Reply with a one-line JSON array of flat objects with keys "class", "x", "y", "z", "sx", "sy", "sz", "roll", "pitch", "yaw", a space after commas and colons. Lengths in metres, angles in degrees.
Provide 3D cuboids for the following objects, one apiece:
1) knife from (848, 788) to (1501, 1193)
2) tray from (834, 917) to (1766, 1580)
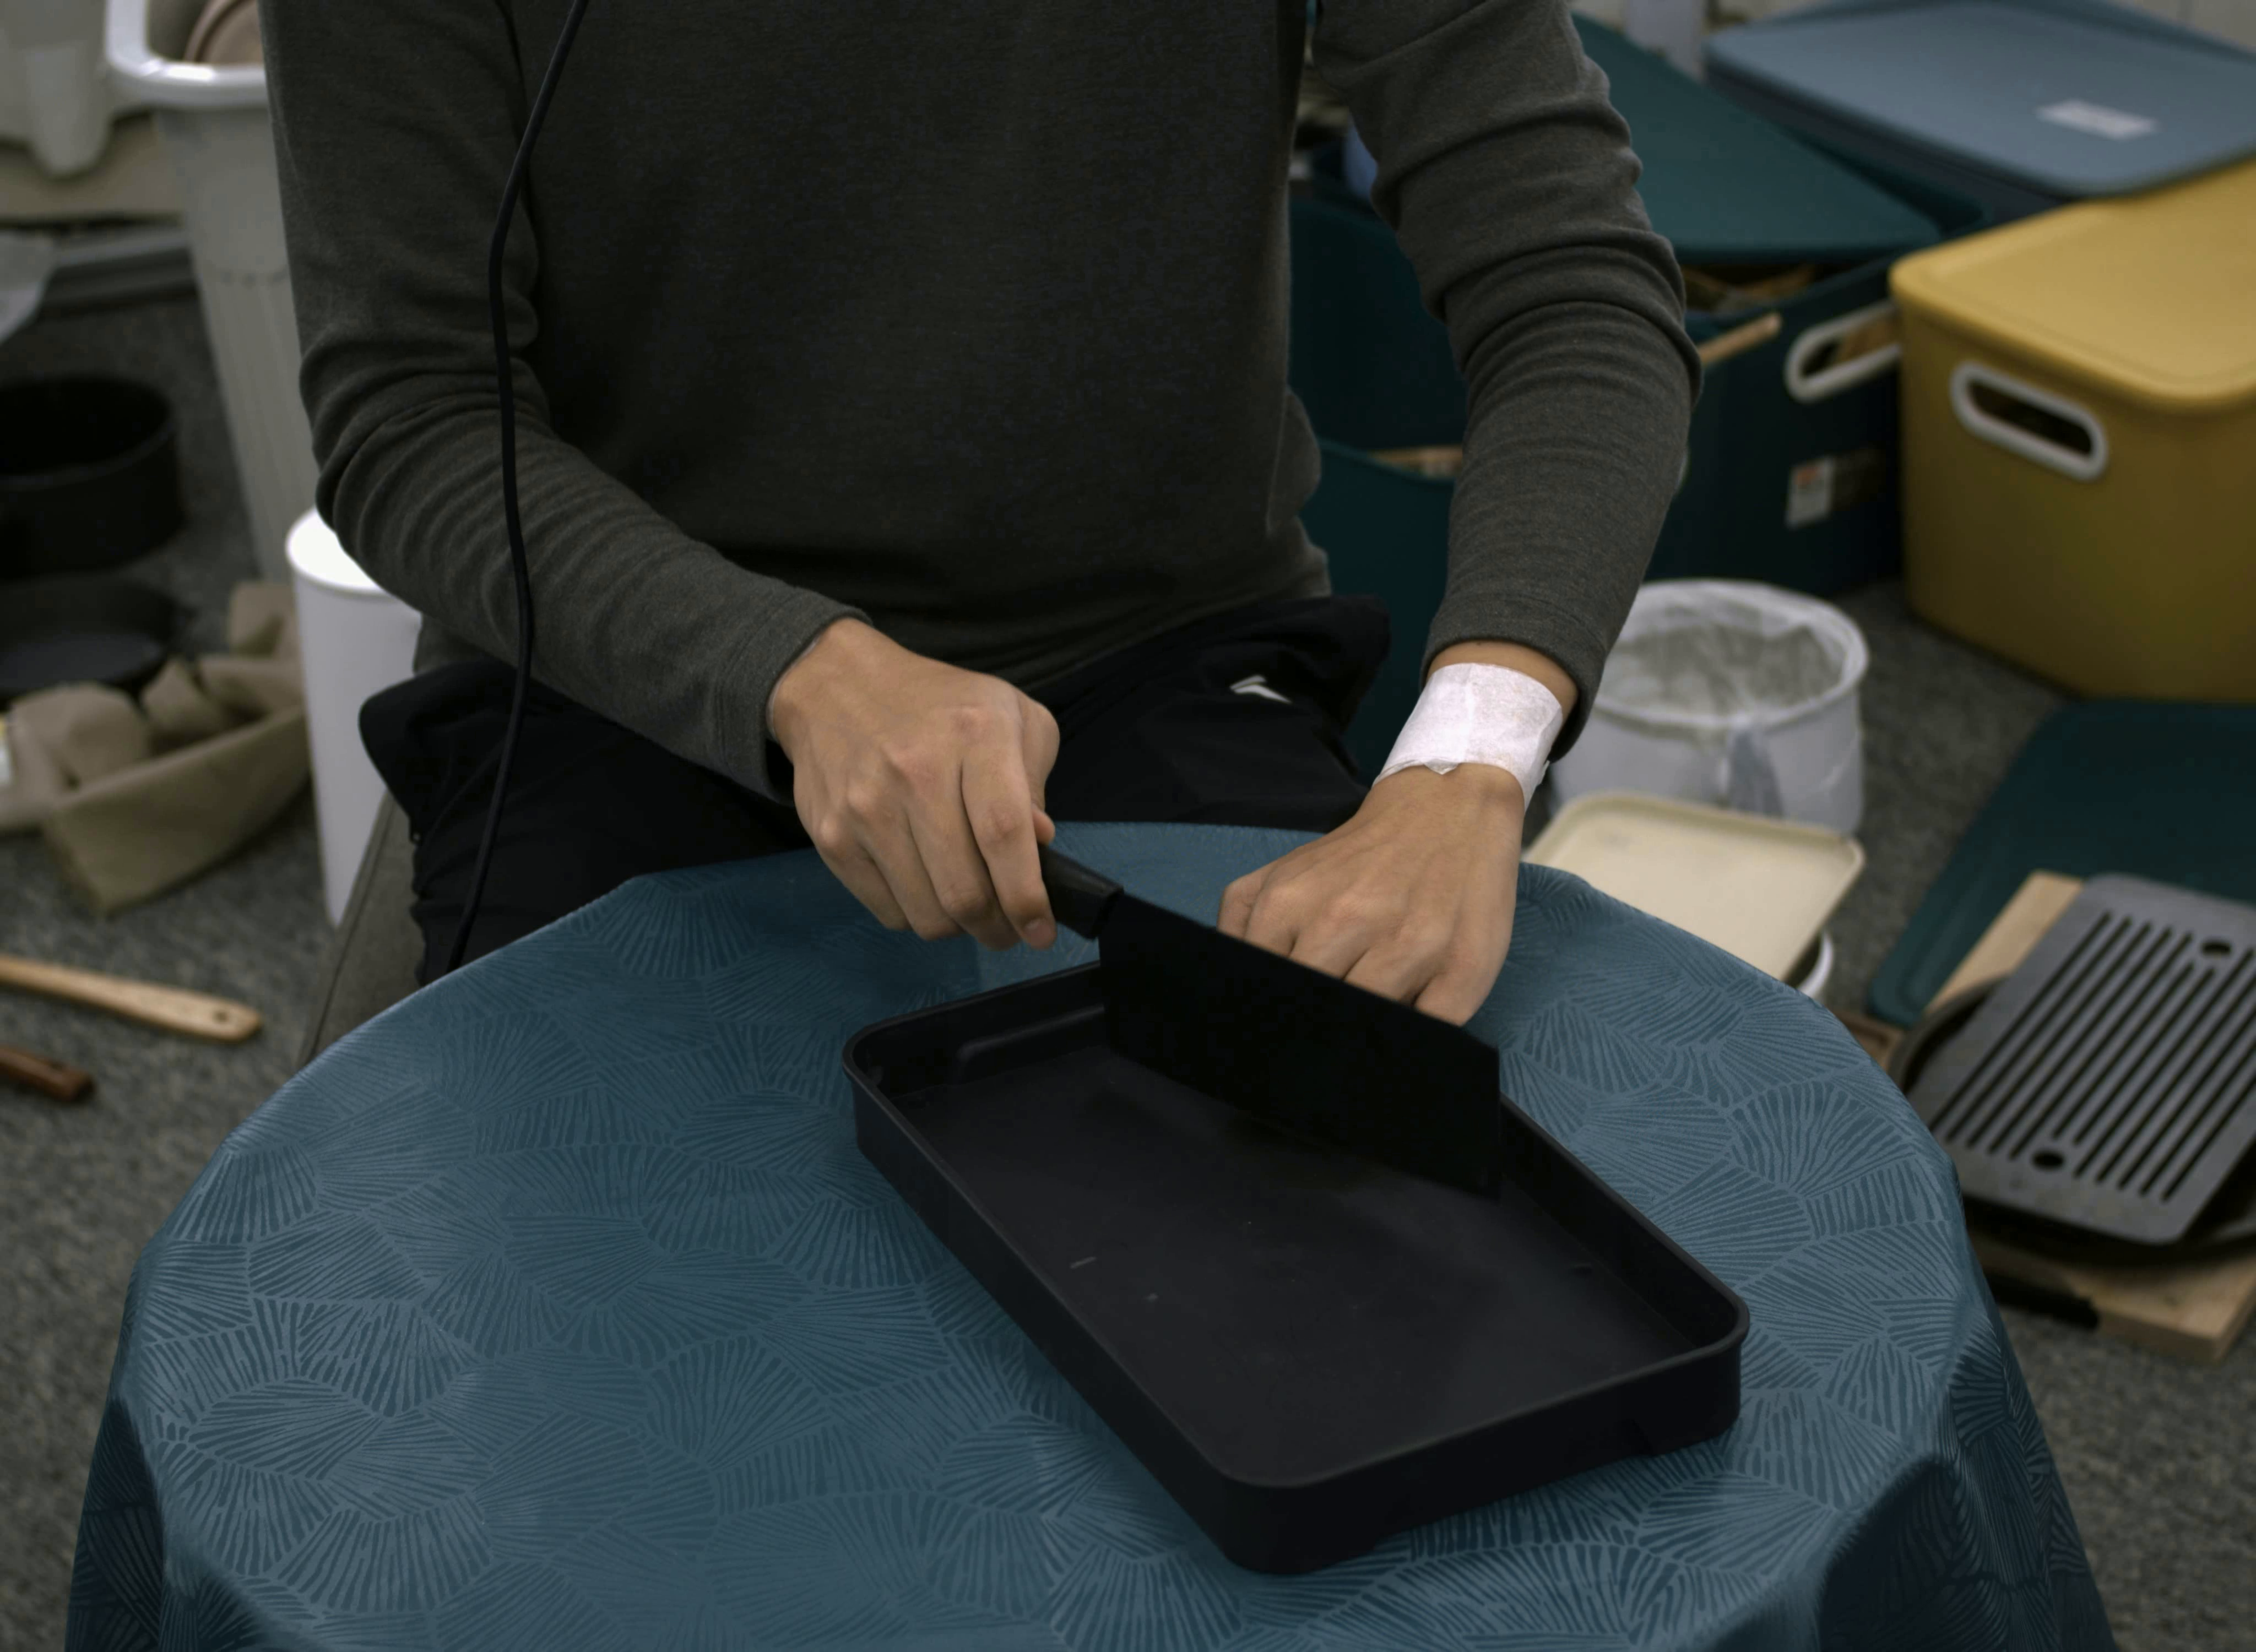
[{"class": "knife", "x": 0.012, "y": 0.050, "z": 1.879, "sx": 0.021, "sy": 0.080, "sz": 0.302, "roll": -23, "pitch": 36, "yaw": -39}, {"class": "tray", "x": 0.049, "y": 0.128, "z": 1.804, "sx": 0.185, "sy": 0.036, "sz": 0.319, "roll": -16, "pitch": 30, "yaw": -24}]
